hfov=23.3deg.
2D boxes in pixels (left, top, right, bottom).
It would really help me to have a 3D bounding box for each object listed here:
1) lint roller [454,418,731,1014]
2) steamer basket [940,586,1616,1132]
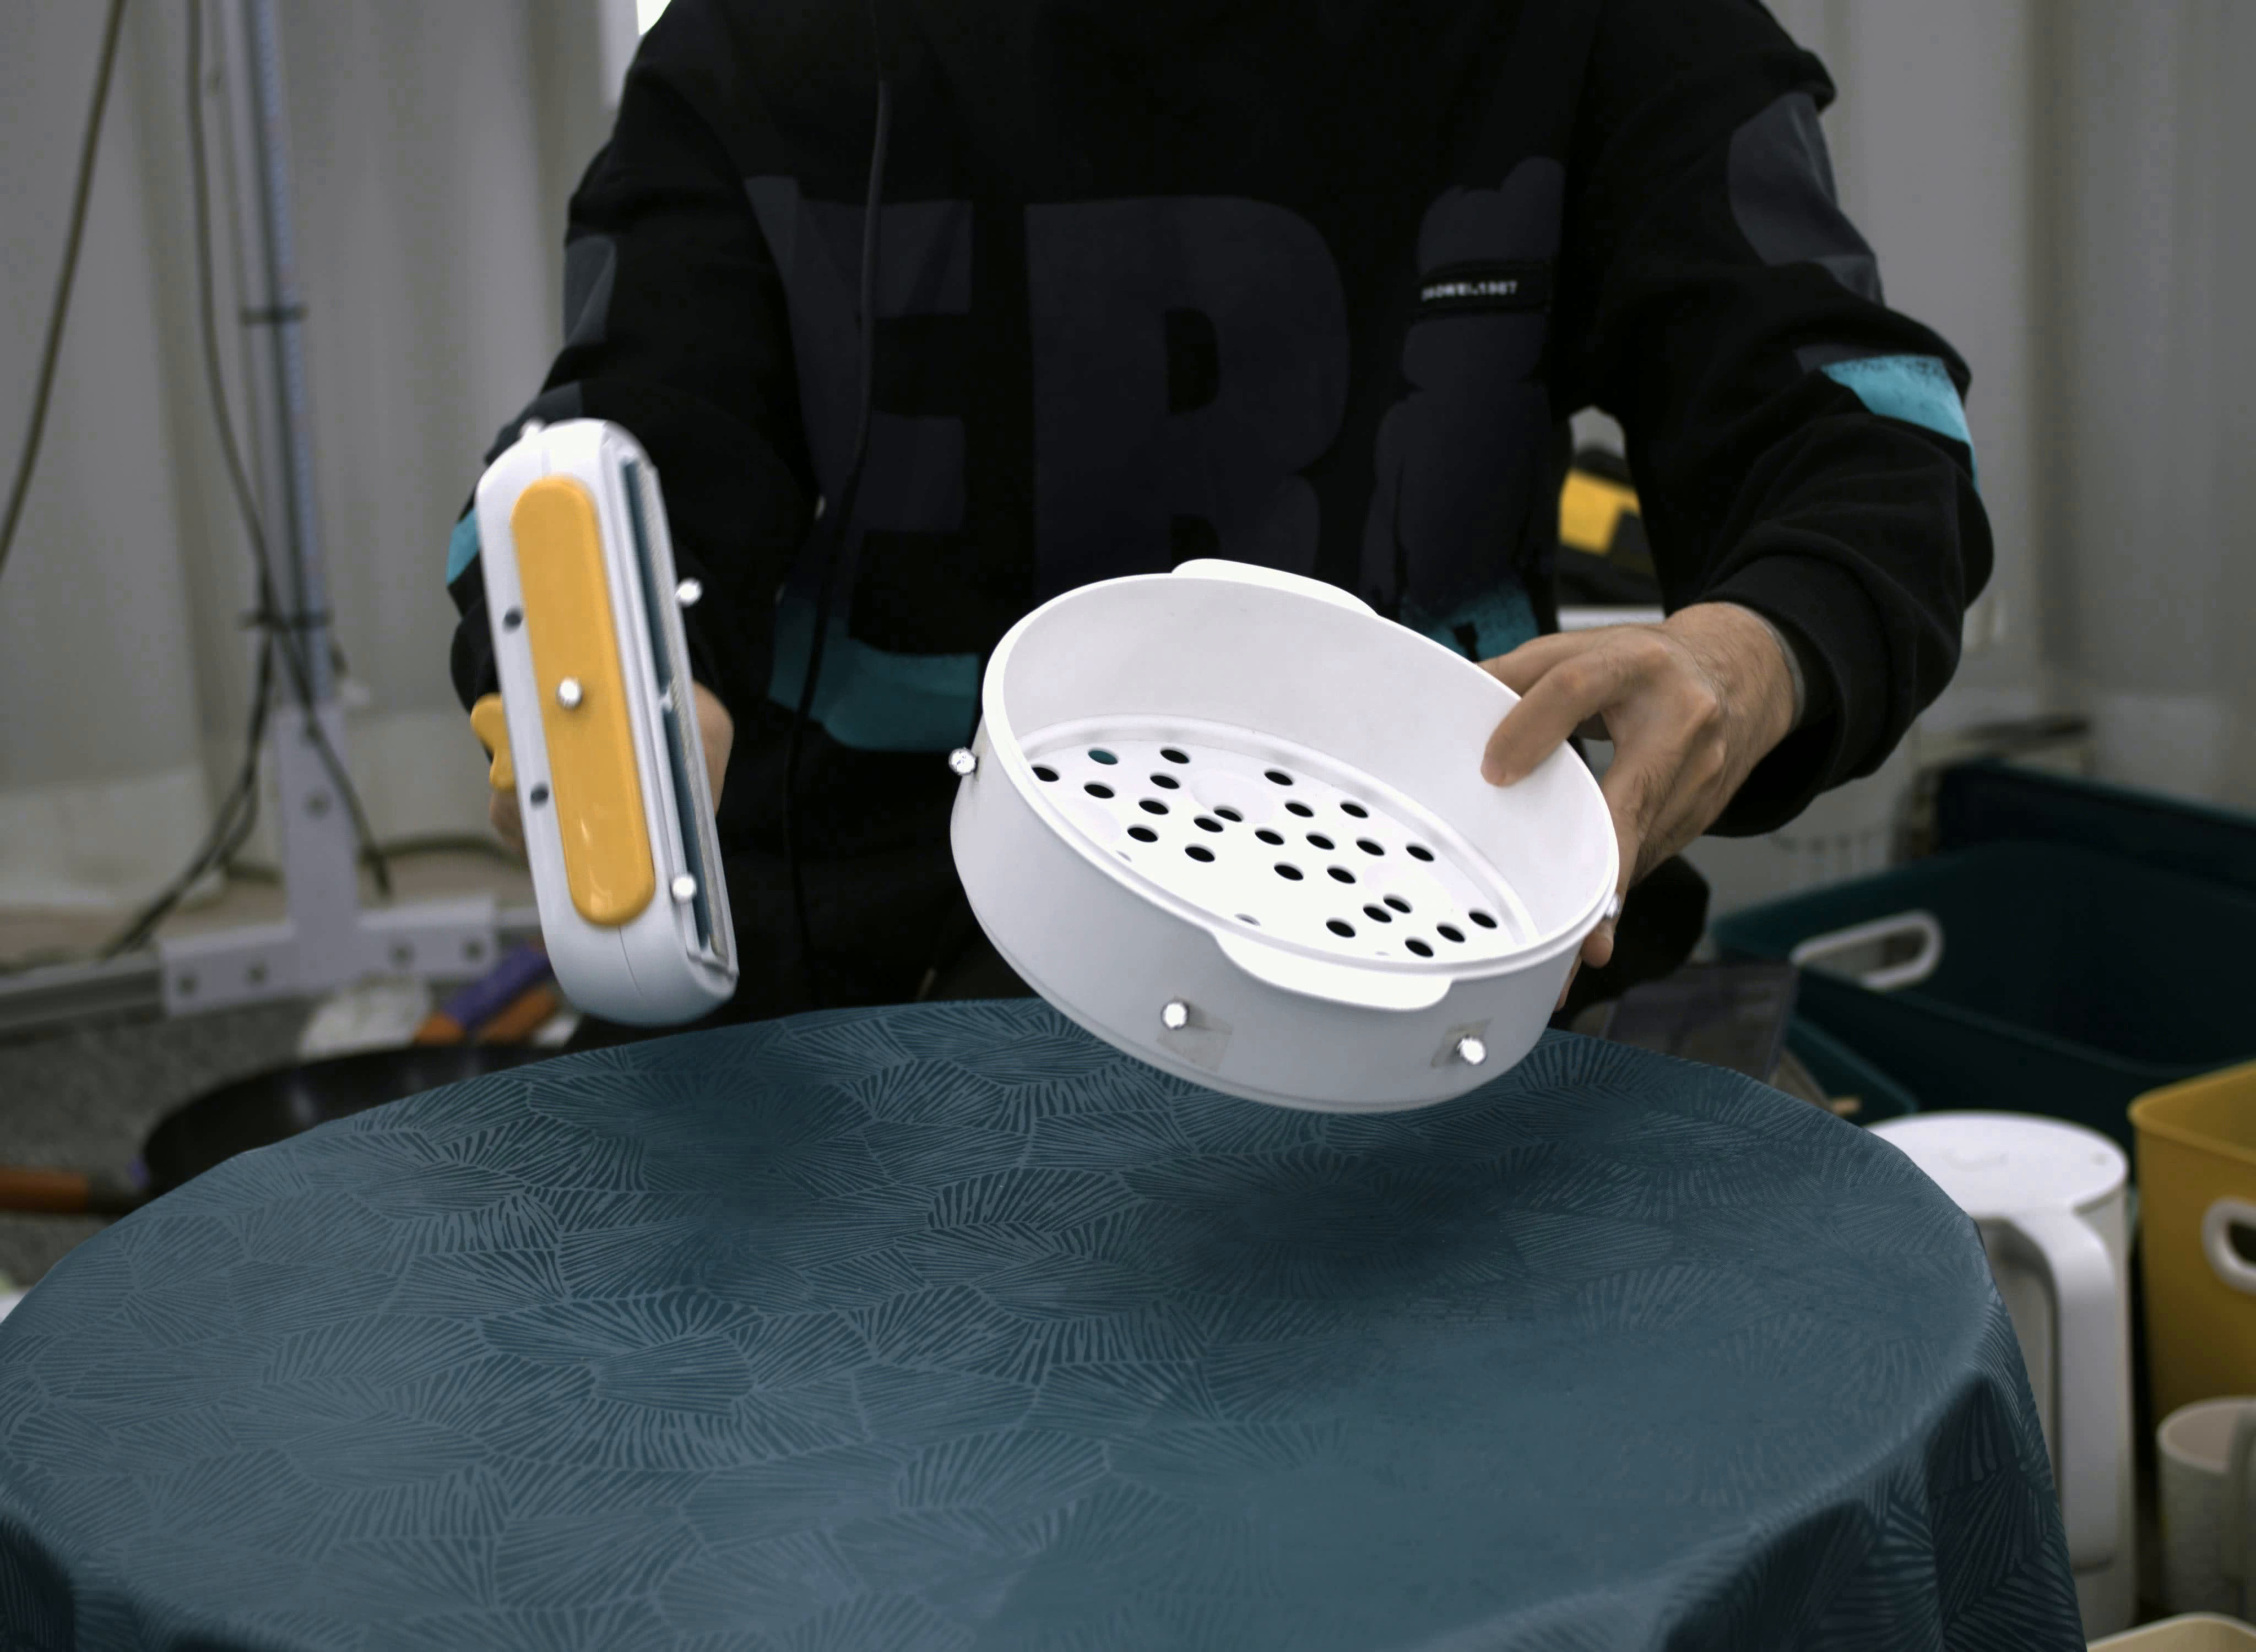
[{"bbox_3d":[-0.164,-0.016,1.772,0.074,0.195,0.191,-17,-18,3],"label":"lint roller"},{"bbox_3d":[0.044,0.012,1.657,0.200,0.068,0.234,14,30,-12],"label":"steamer basket"}]
